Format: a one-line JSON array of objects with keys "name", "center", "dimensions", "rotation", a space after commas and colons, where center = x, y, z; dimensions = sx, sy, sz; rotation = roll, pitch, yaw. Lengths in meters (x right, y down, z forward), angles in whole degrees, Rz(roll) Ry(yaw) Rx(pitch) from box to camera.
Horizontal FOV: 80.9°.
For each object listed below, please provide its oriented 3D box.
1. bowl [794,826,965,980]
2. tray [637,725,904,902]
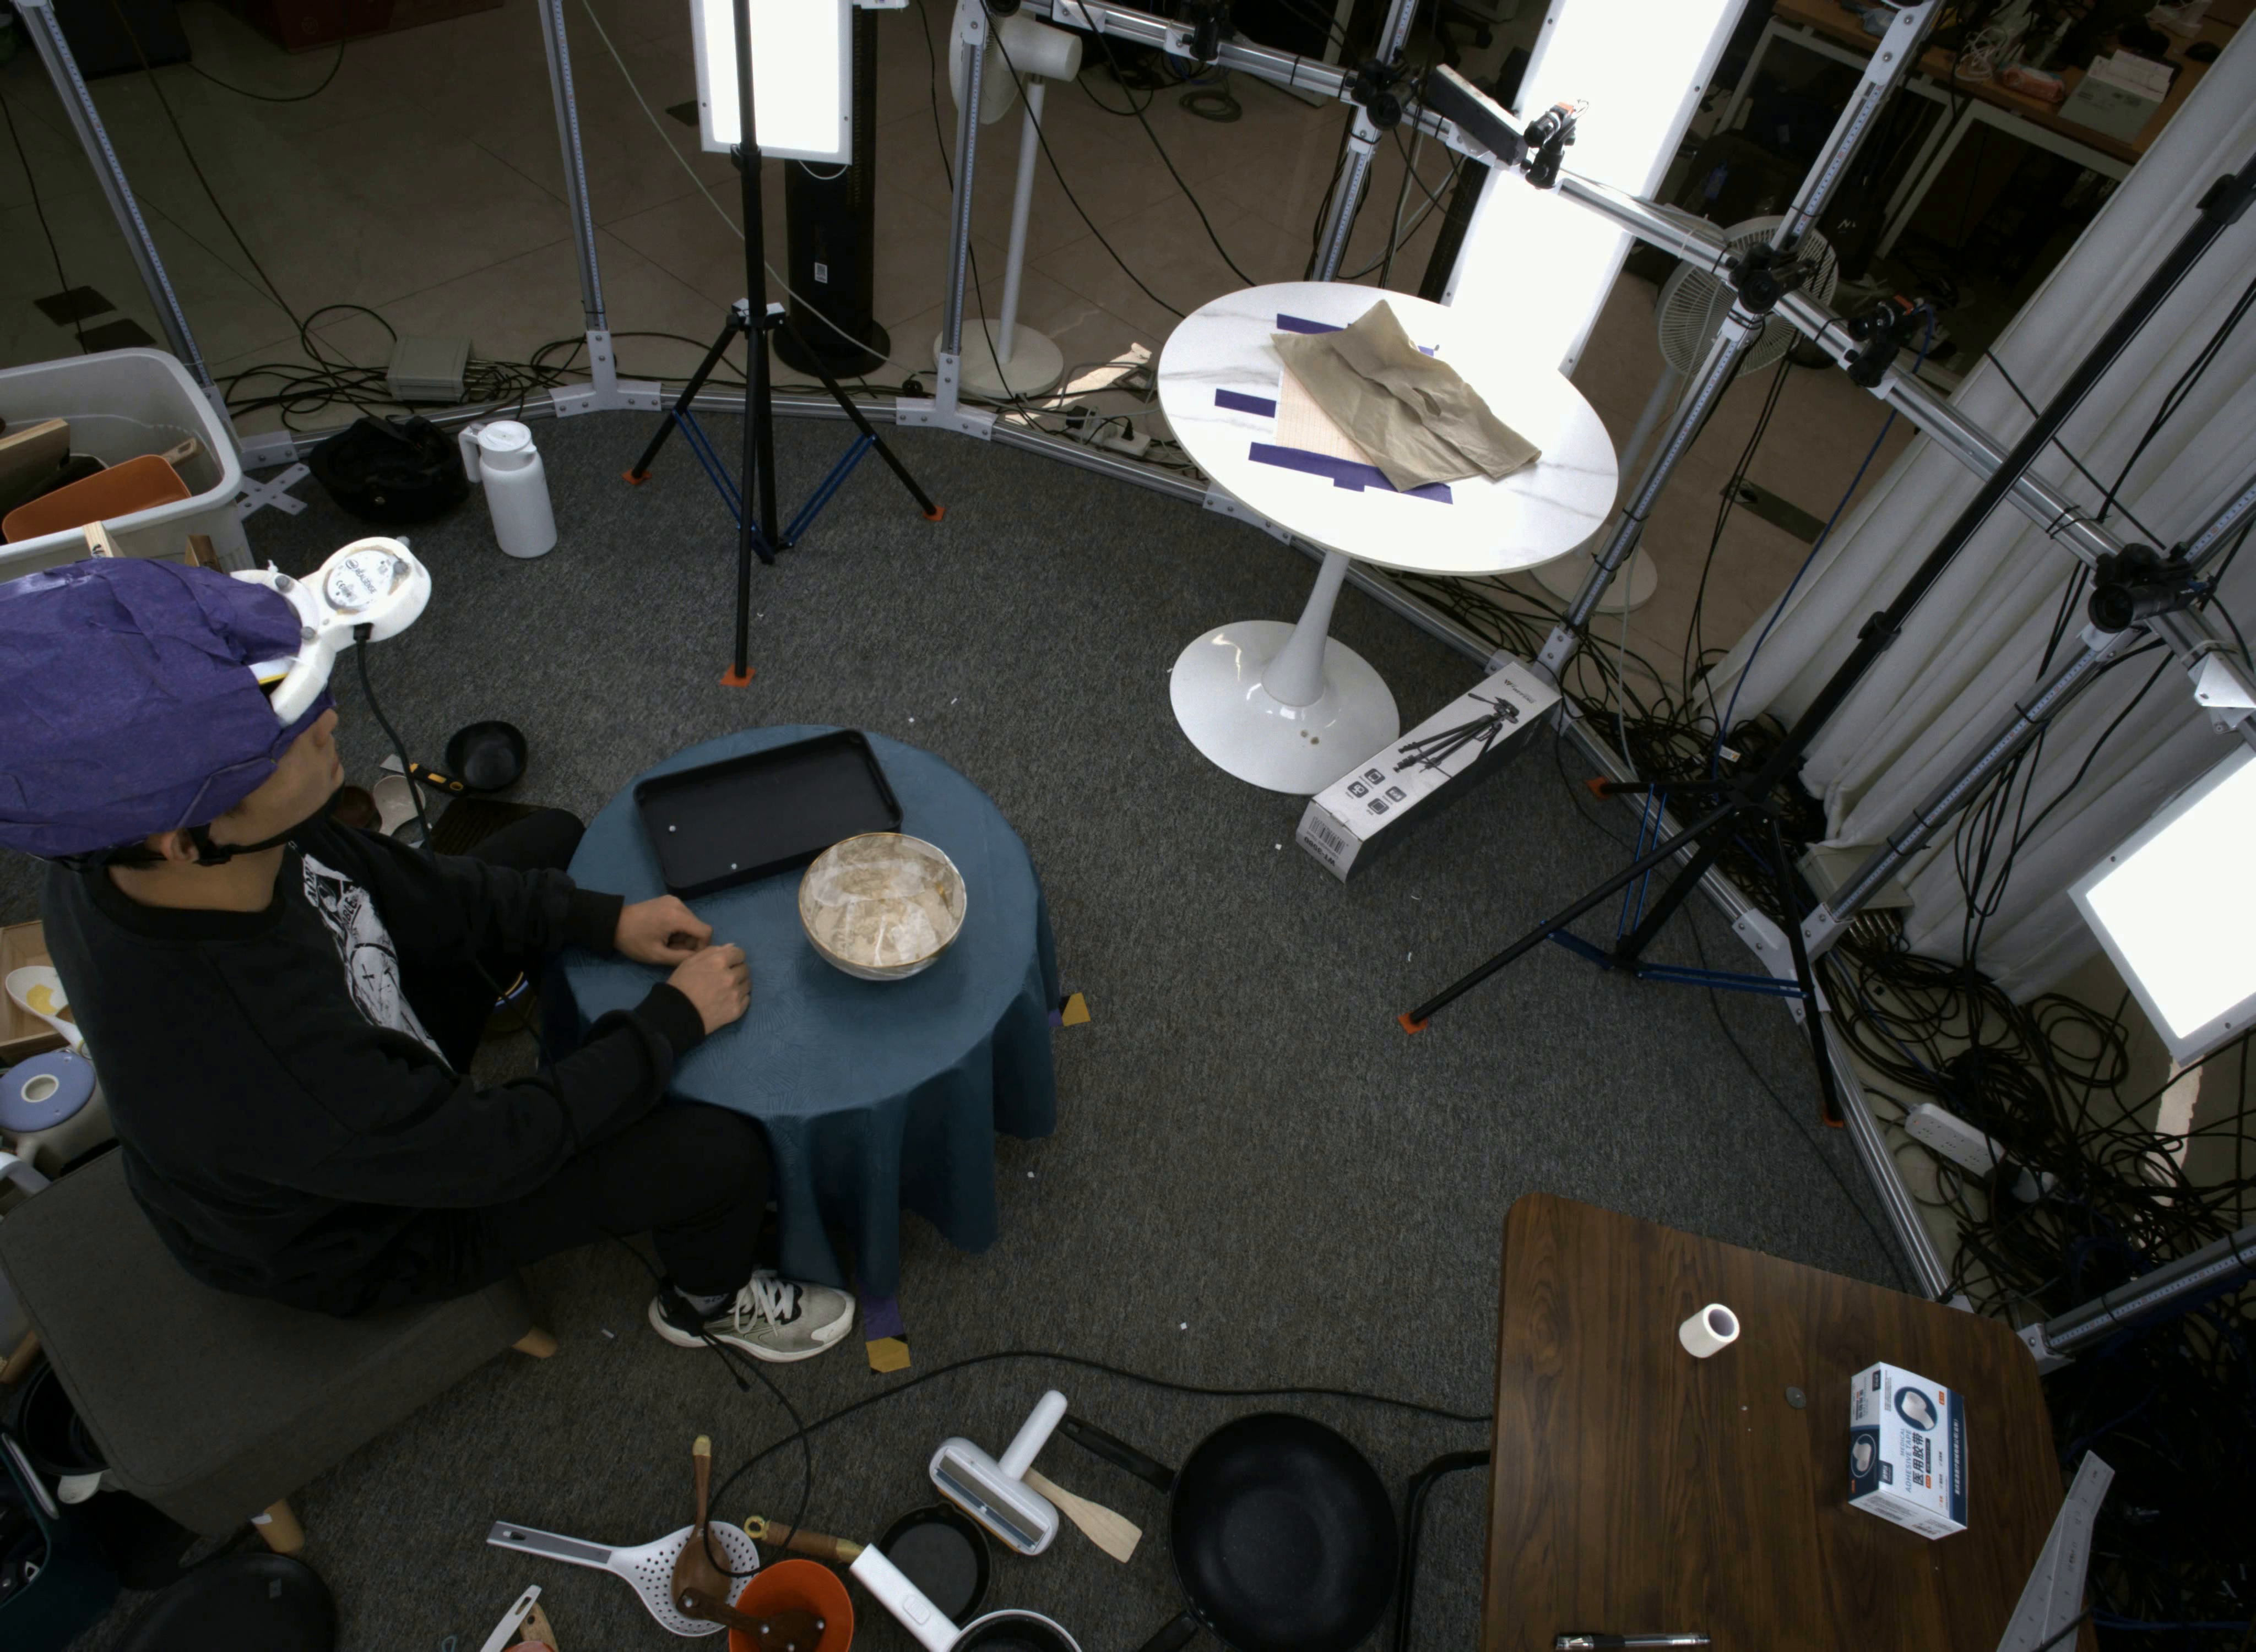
[{"name": "bowl", "center": [-0.310, 0.110, 1.616], "dimensions": [0.214, 0.096, 0.211], "rotation": [8, 53, -9]}, {"name": "tray", "center": [-0.471, -0.022, 1.708], "dimensions": [0.319, 0.038, 0.180], "rotation": [-17, 61, -24]}]
